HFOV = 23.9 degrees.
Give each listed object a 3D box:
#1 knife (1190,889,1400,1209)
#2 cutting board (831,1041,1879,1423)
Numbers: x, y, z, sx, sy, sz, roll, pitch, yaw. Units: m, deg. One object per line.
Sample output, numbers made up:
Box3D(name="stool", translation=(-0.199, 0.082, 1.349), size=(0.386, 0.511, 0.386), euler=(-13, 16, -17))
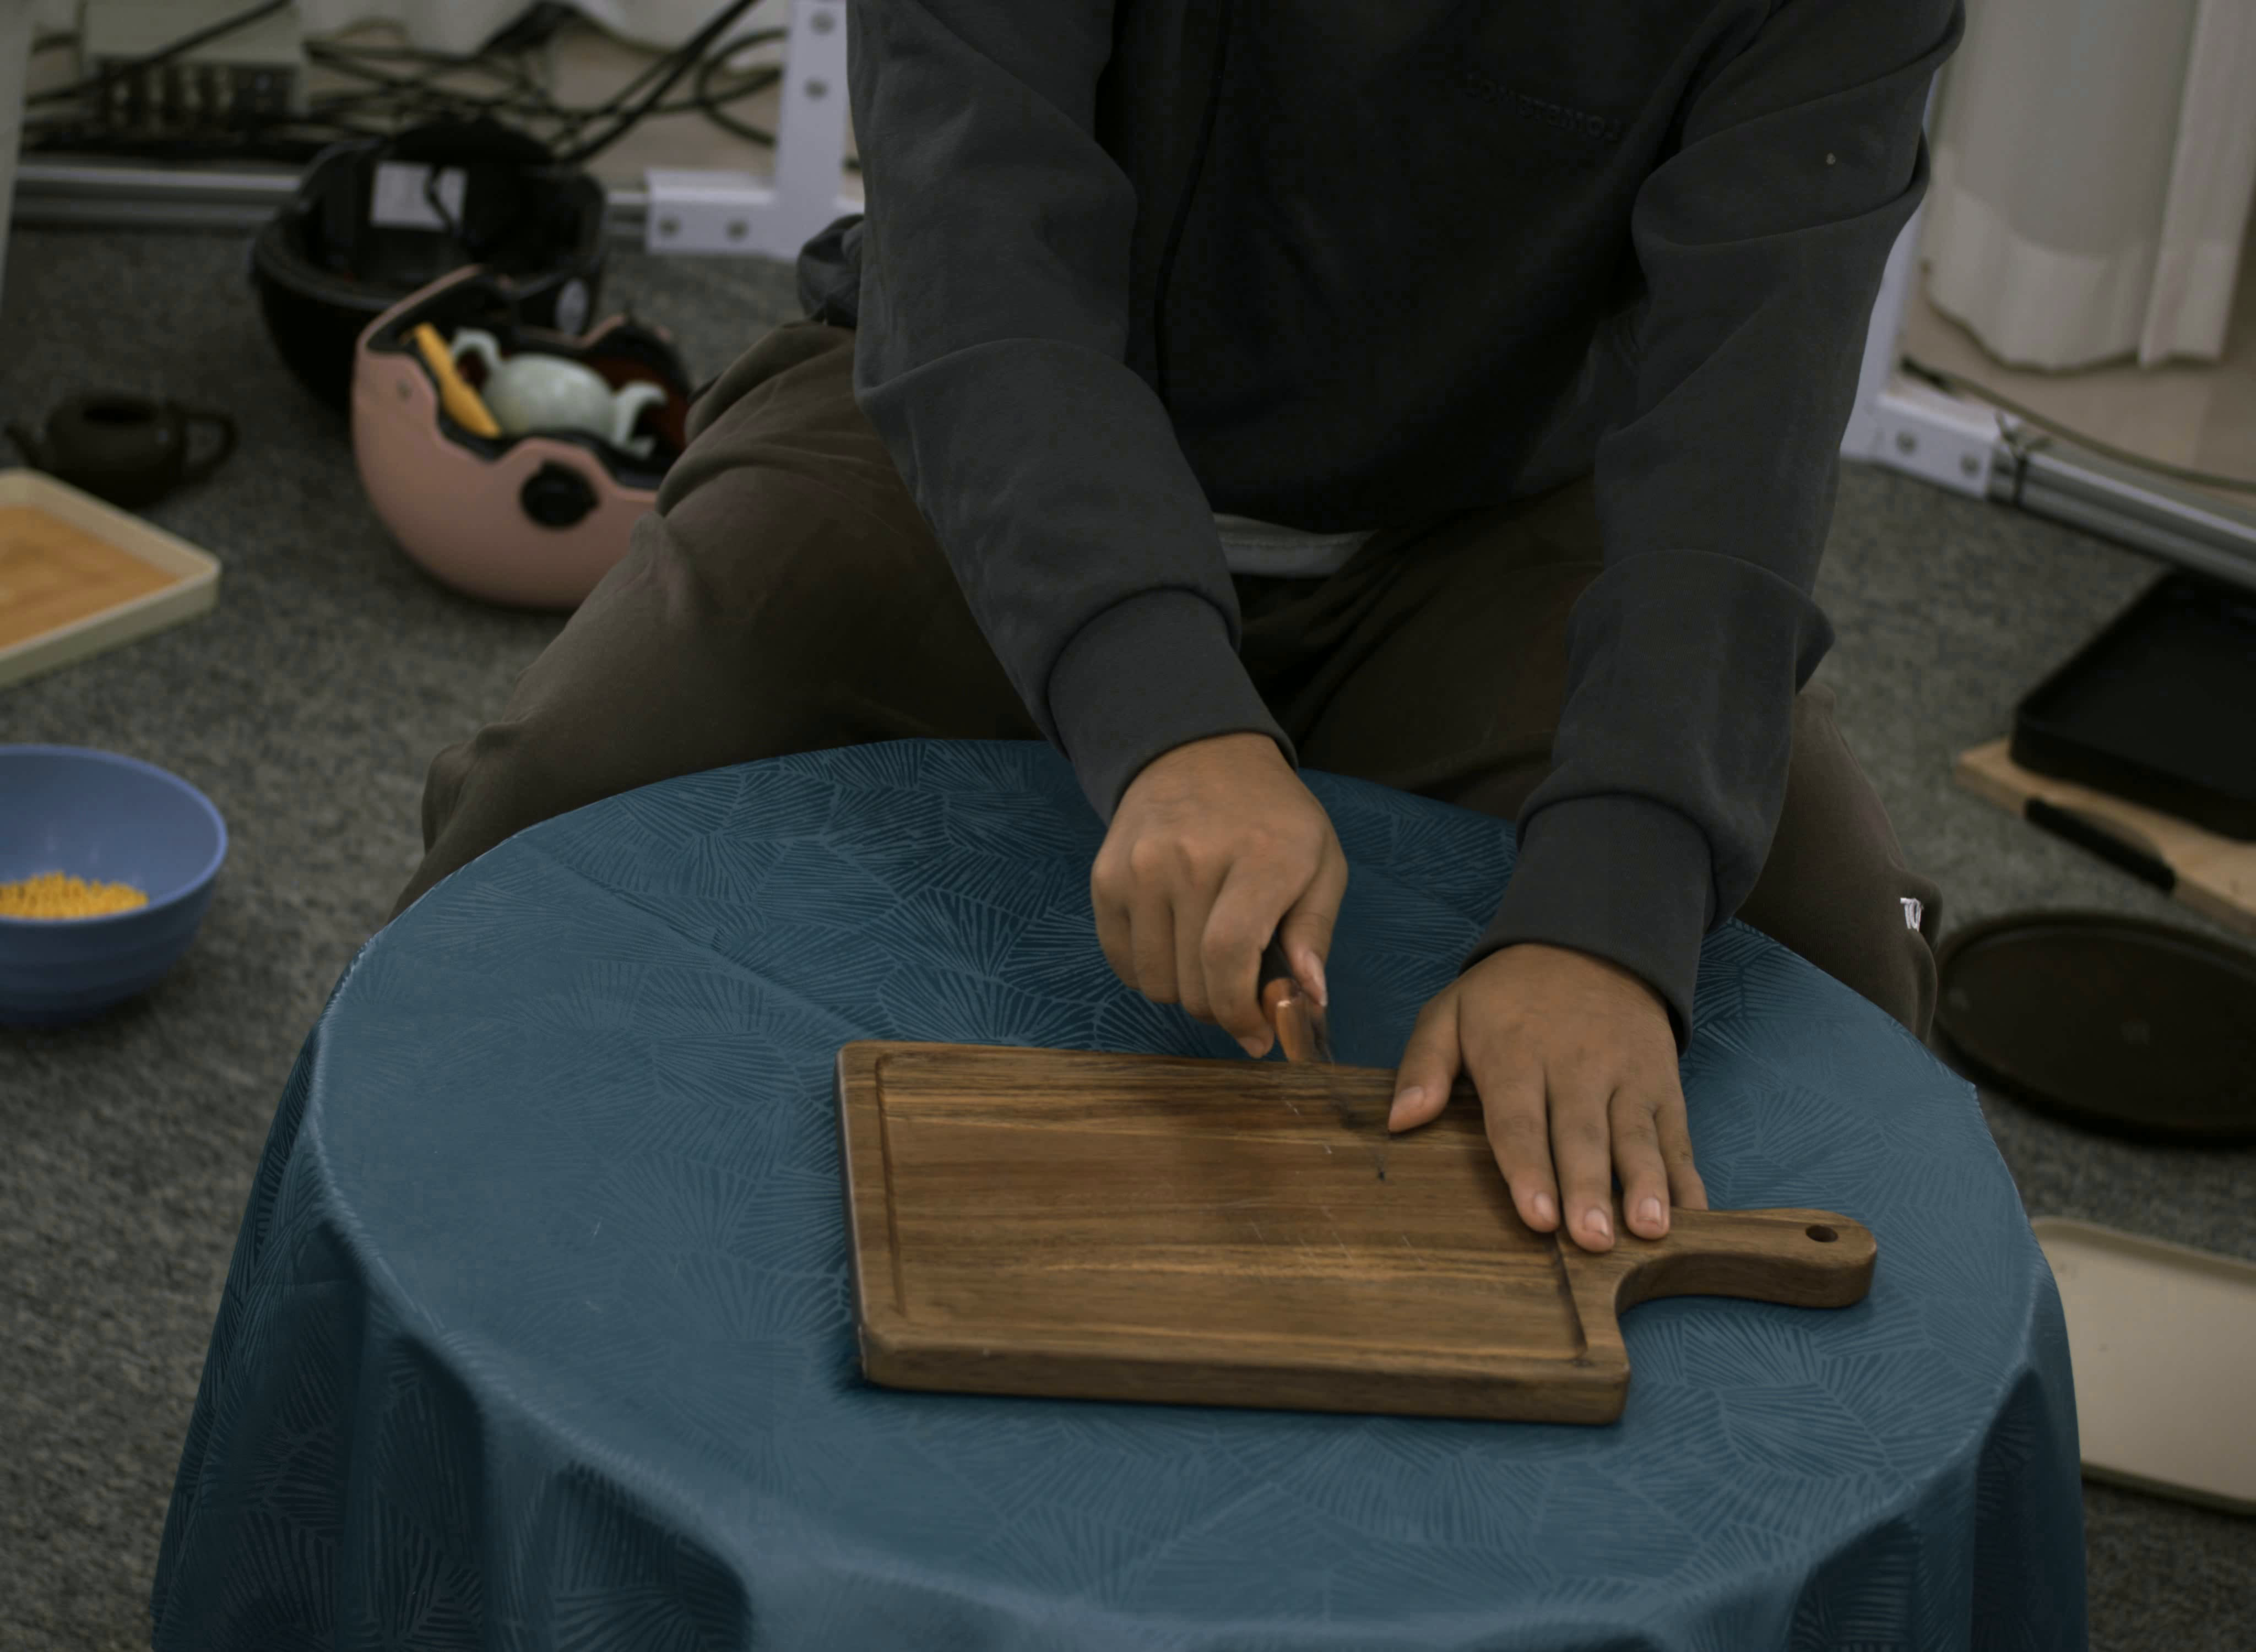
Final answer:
Box3D(name="knife", translation=(0.056, 0.072, 1.790), size=(0.017, 0.026, 0.227), euler=(-14, 25, -10))
Box3D(name="cutting board", translation=(0.079, 0.136, 1.778), size=(0.350, 0.023, 0.202), euler=(3, 27, -7))
